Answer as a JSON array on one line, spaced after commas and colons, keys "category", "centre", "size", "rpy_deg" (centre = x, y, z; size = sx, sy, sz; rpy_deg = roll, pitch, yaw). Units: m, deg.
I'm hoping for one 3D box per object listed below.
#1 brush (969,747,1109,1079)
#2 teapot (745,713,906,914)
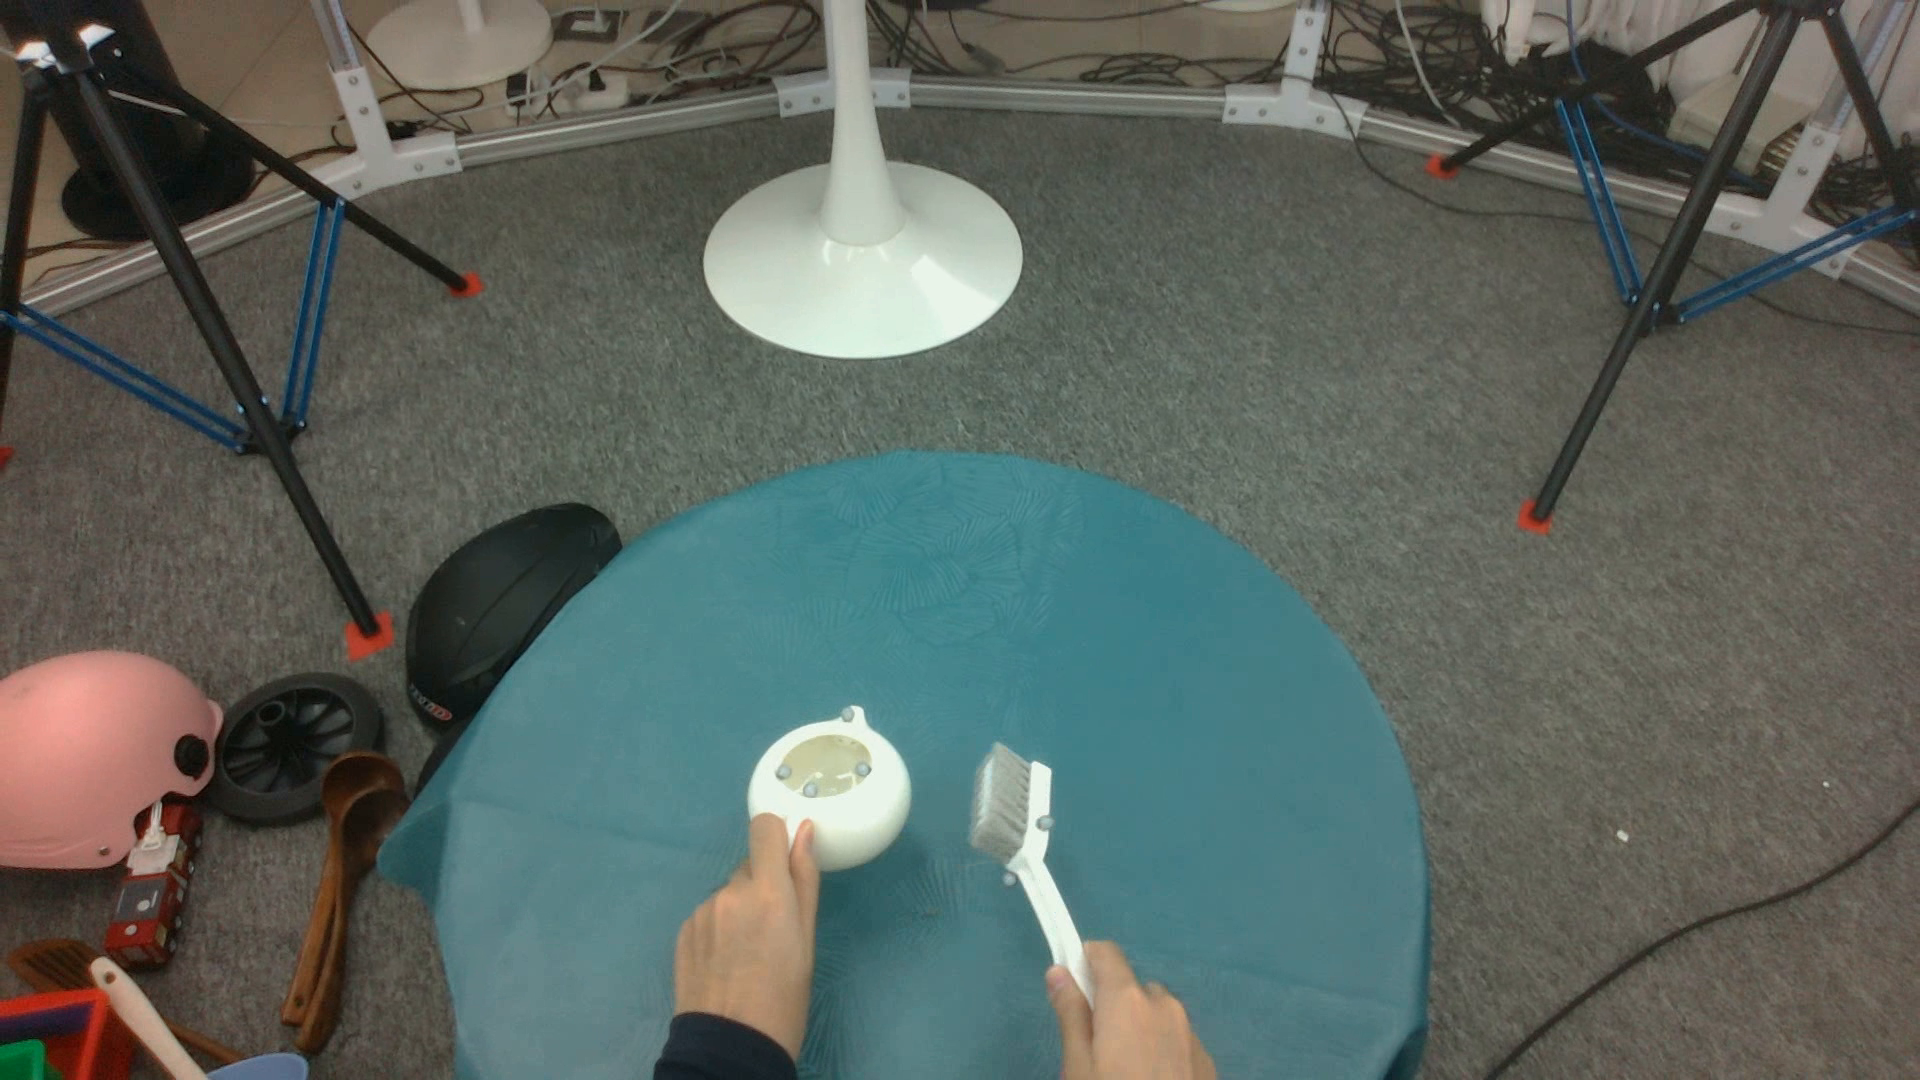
[{"category": "brush", "centre": [0.039, 0.213, 0.724], "size": [0.050, 0.034, 0.244], "rpy_deg": [22, 36, -27]}, {"category": "teapot", "centre": [-0.081, 0.158, 0.792], "size": [0.093, 0.056, 0.128], "rpy_deg": [8, 36, 10]}]
